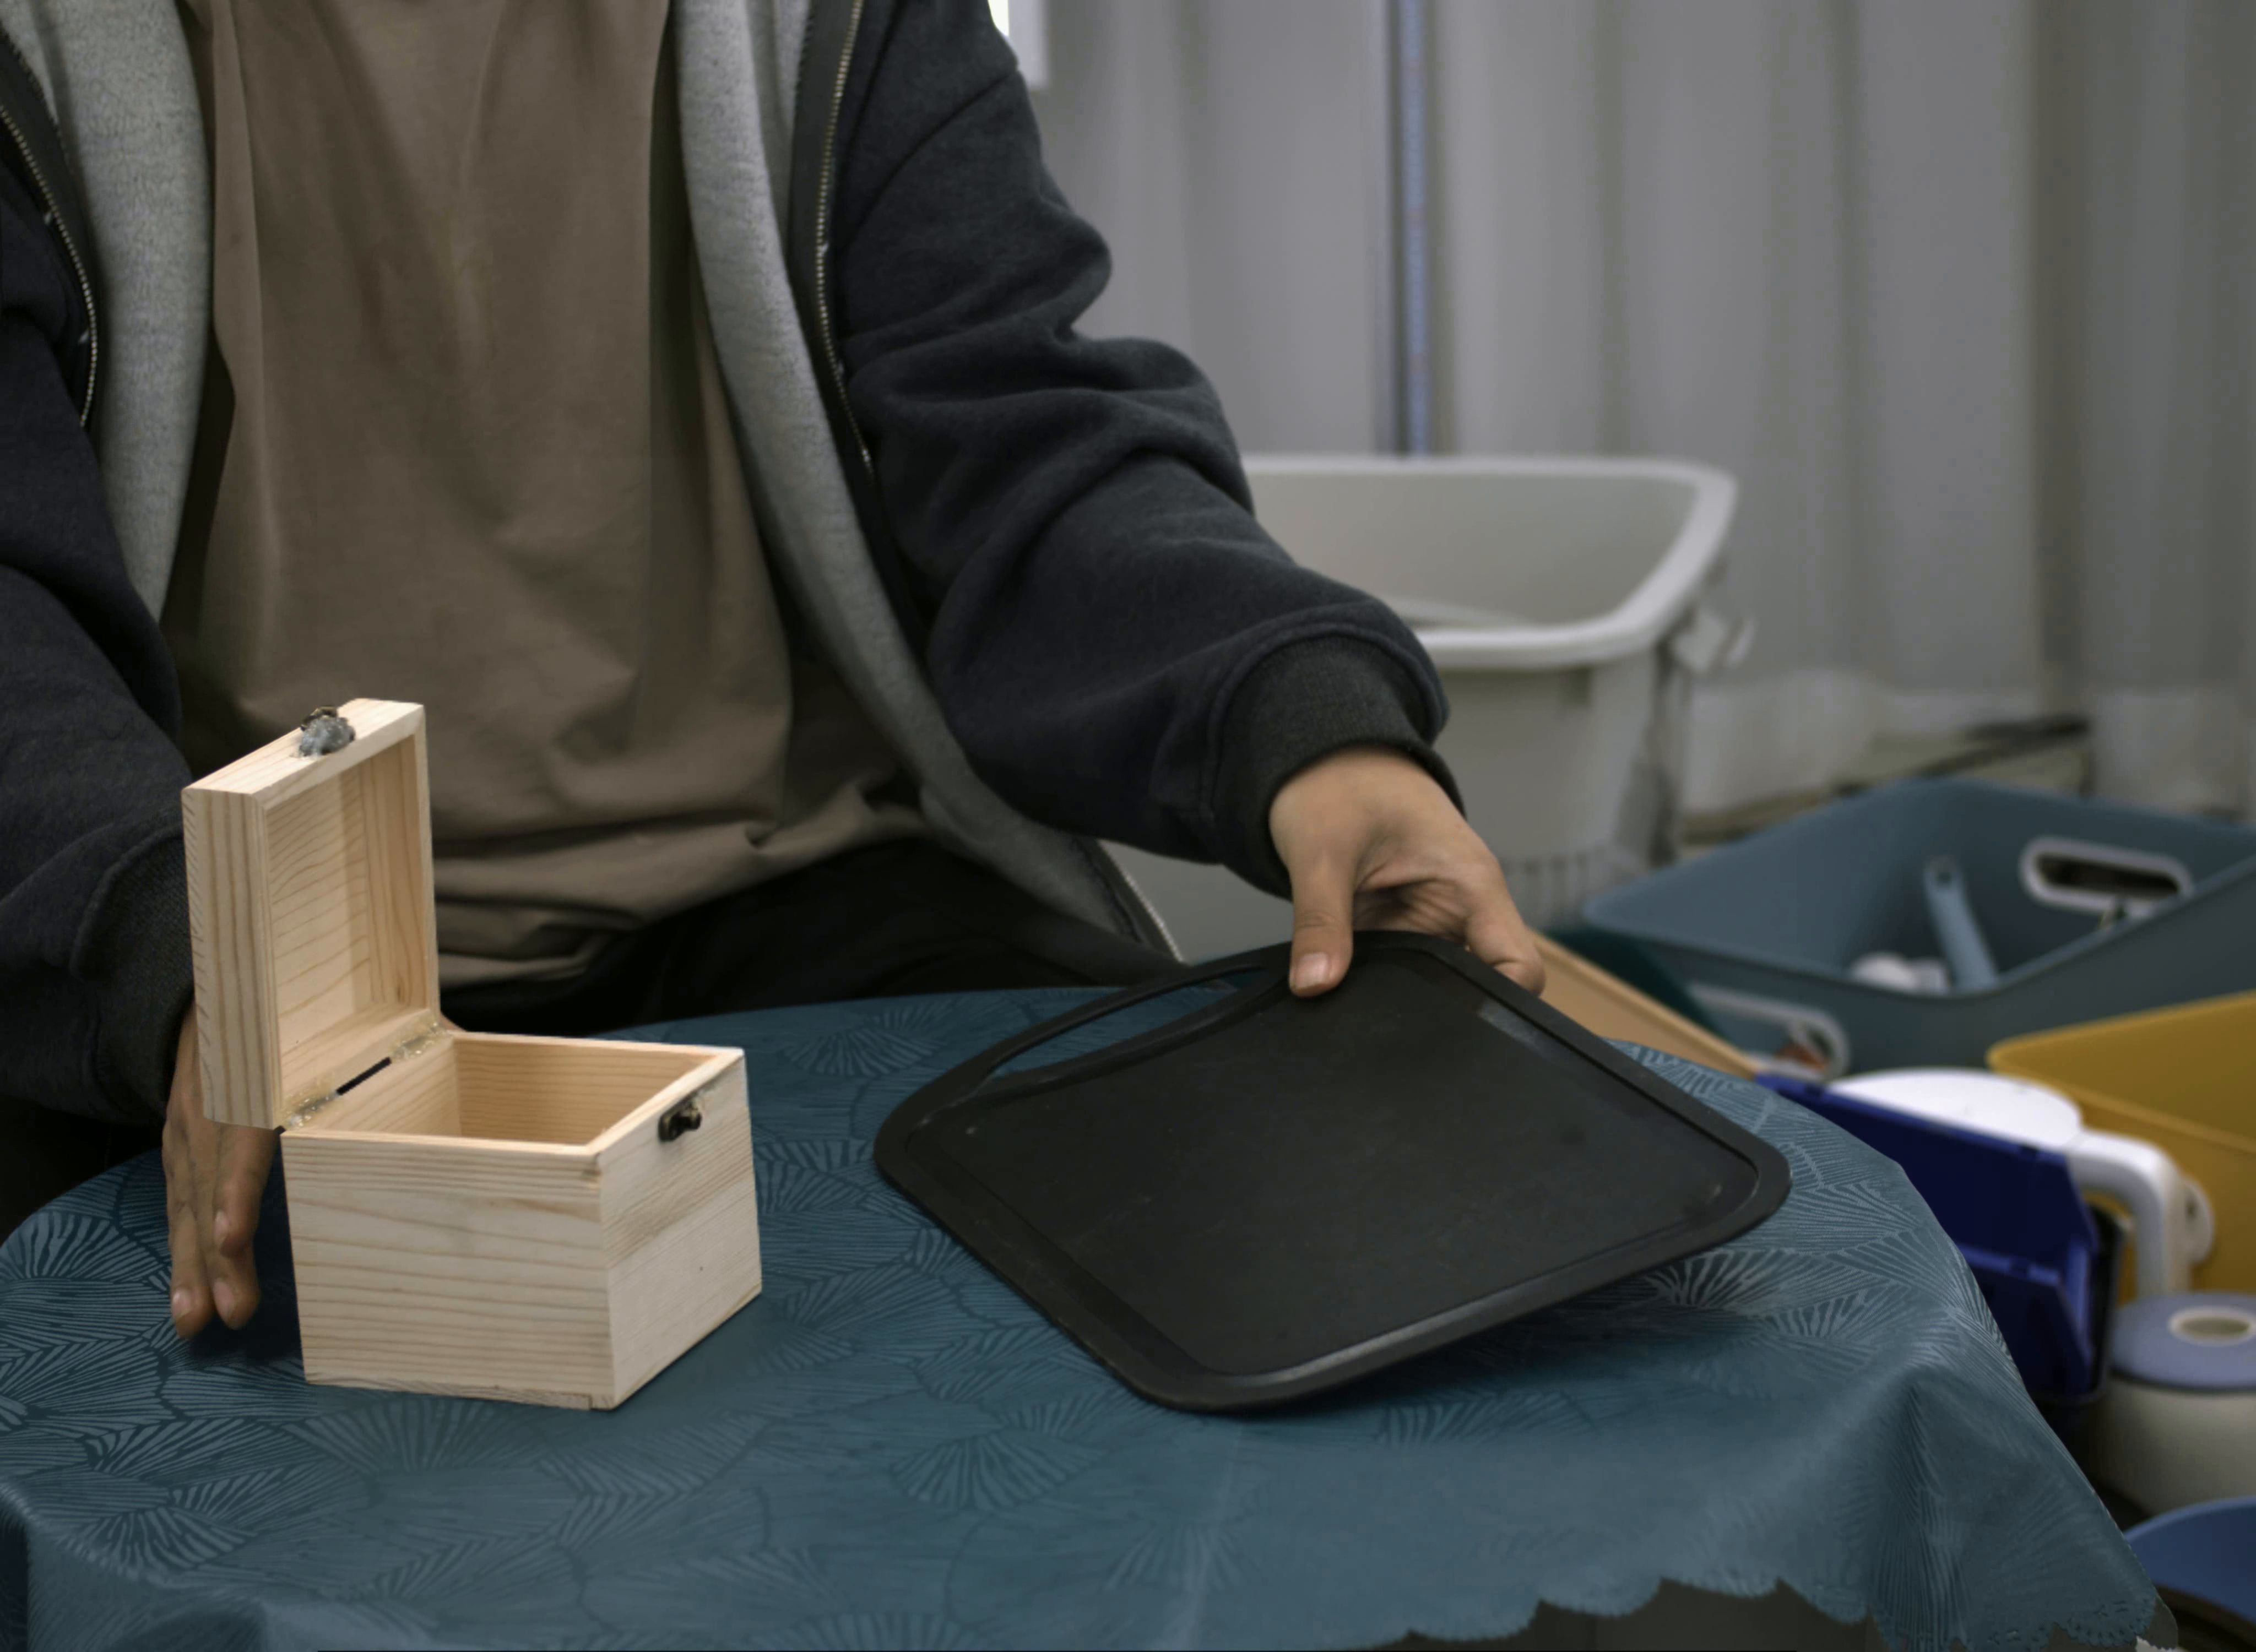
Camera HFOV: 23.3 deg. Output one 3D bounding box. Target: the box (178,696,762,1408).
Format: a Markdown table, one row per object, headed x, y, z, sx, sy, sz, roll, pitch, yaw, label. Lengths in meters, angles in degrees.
| x | y | z | sx | sy | sz | roll | pitch | yaw | label |
| --- | --- | --- | --- | --- | --- | --- | --- | --- | --- |
| -0.188 | 0.062 | 1.594 | 0.134 | 0.184 | 0.103 | 1 | 15 | 21 | box |

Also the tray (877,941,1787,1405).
| x | y | z | sx | sy | sz | roll | pitch | yaw | label |
| --- | --- | --- | --- | --- | --- | --- | --- | --- | --- |
| 0.051 | 0.098 | 1.681 | 0.210 | 0.010 | 0.328 | -19 | 20 | -16 | tray |
